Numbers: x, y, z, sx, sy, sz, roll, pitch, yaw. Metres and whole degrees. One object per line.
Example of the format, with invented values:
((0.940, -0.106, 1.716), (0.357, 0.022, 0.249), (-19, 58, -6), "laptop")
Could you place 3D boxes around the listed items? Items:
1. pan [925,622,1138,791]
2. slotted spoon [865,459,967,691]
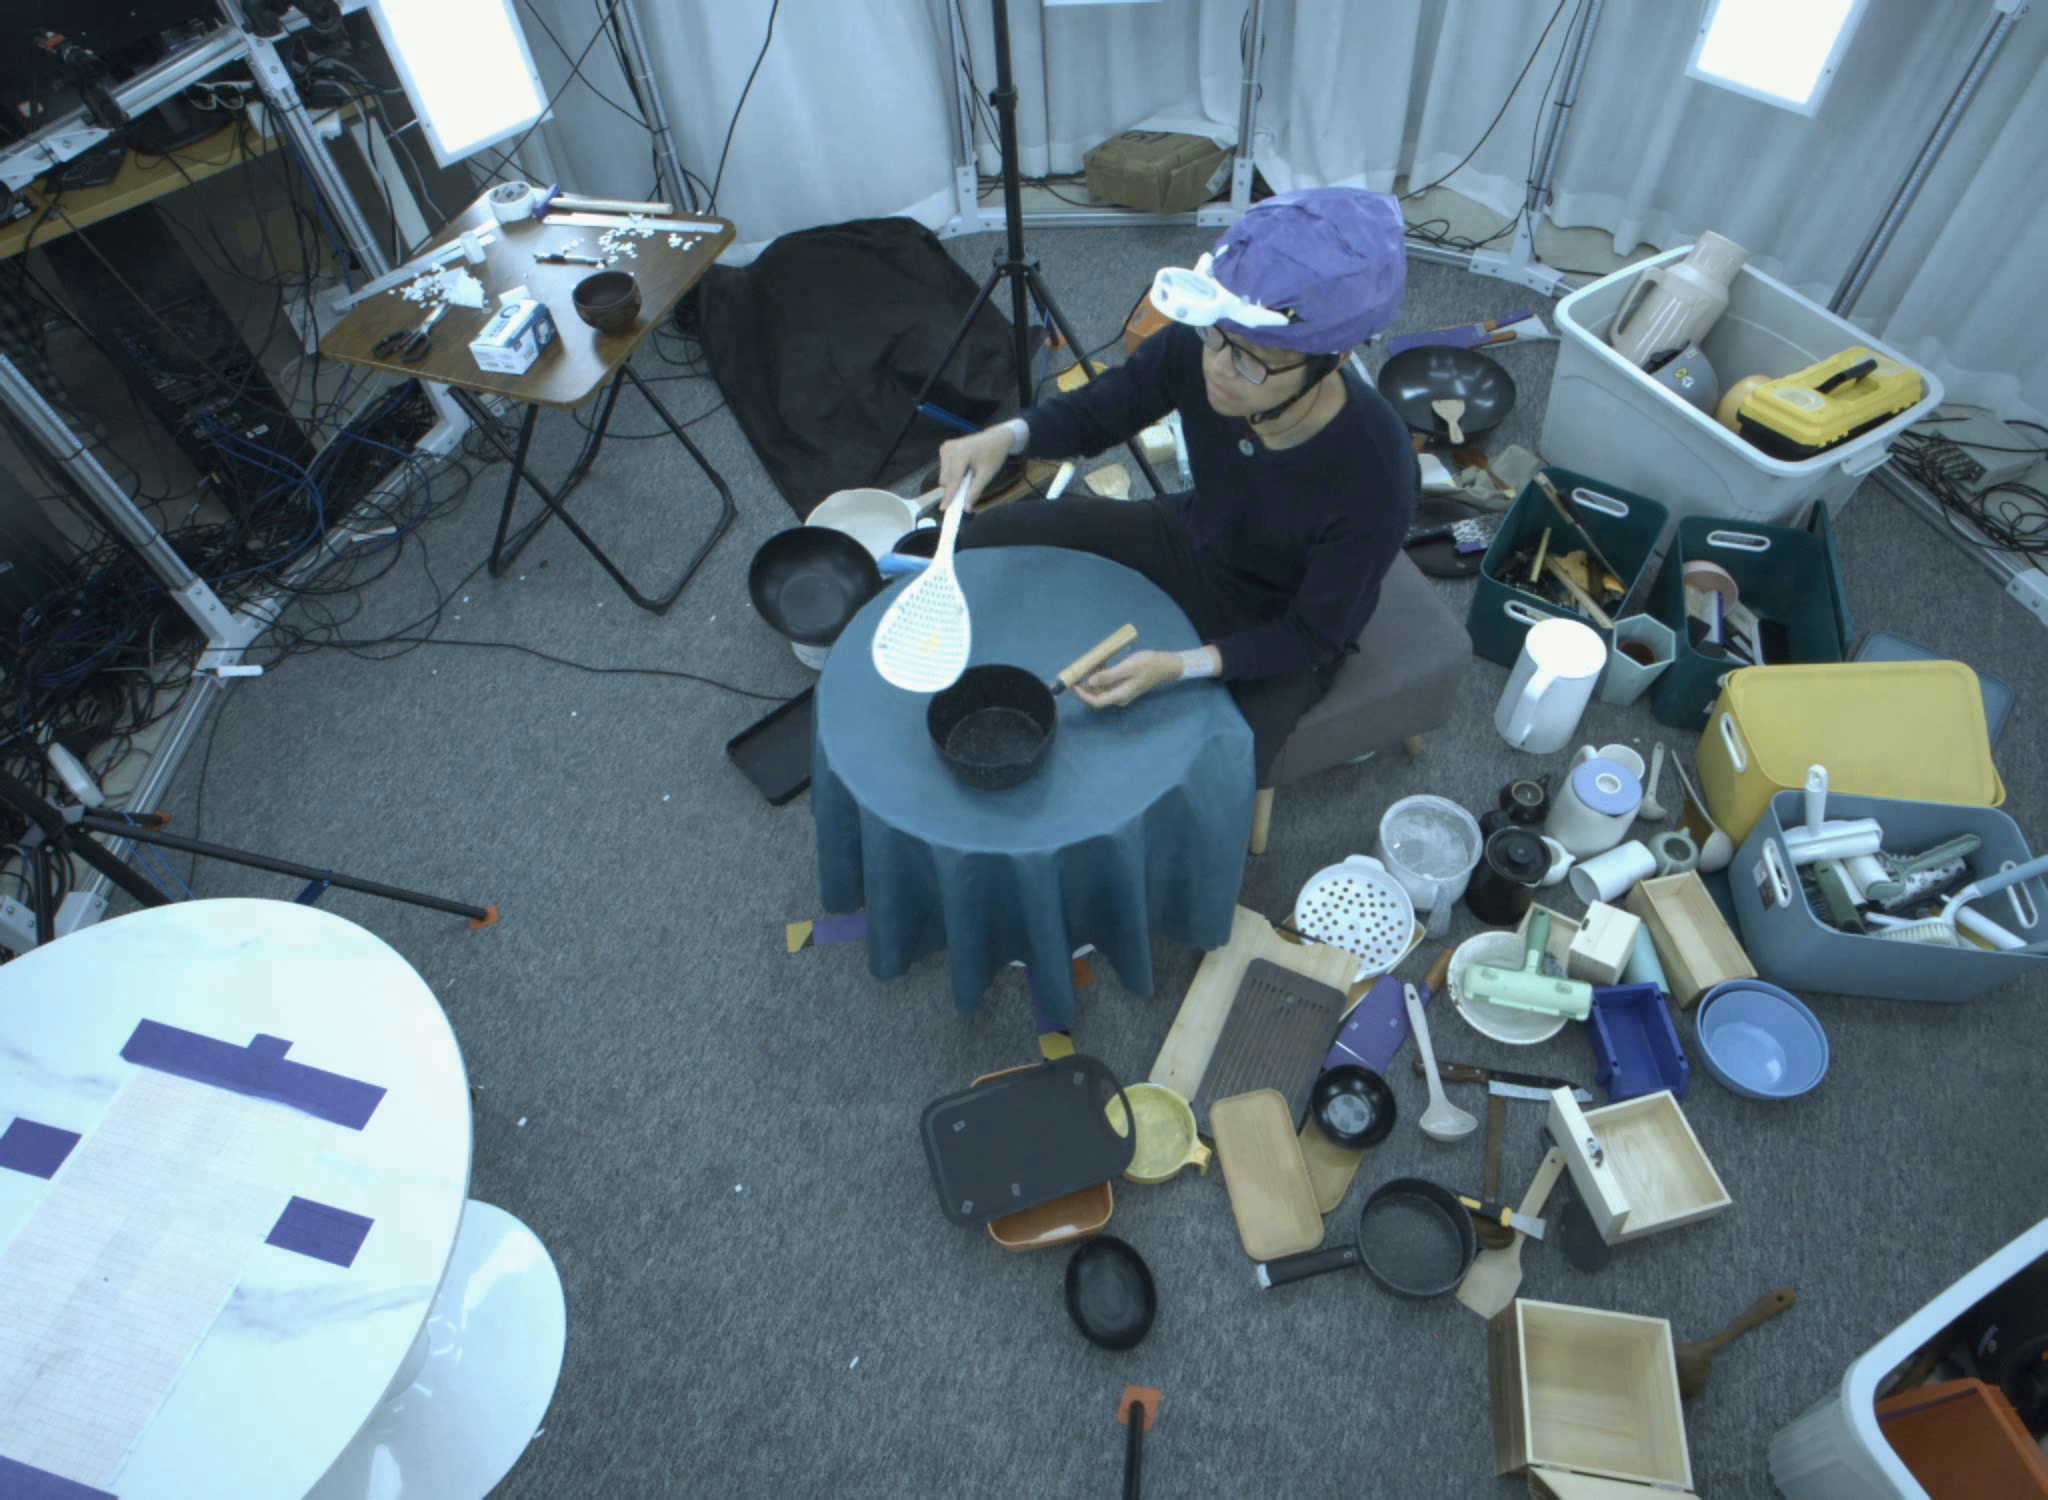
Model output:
((0.021, -0.072, 1.771), (0.345, 0.109, 0.203), (-31, 58, -17), "pan")
((-0.124, -0.250, 1.704), (0.136, 0.051, 0.347), (12, 87, 10), "slotted spoon")
